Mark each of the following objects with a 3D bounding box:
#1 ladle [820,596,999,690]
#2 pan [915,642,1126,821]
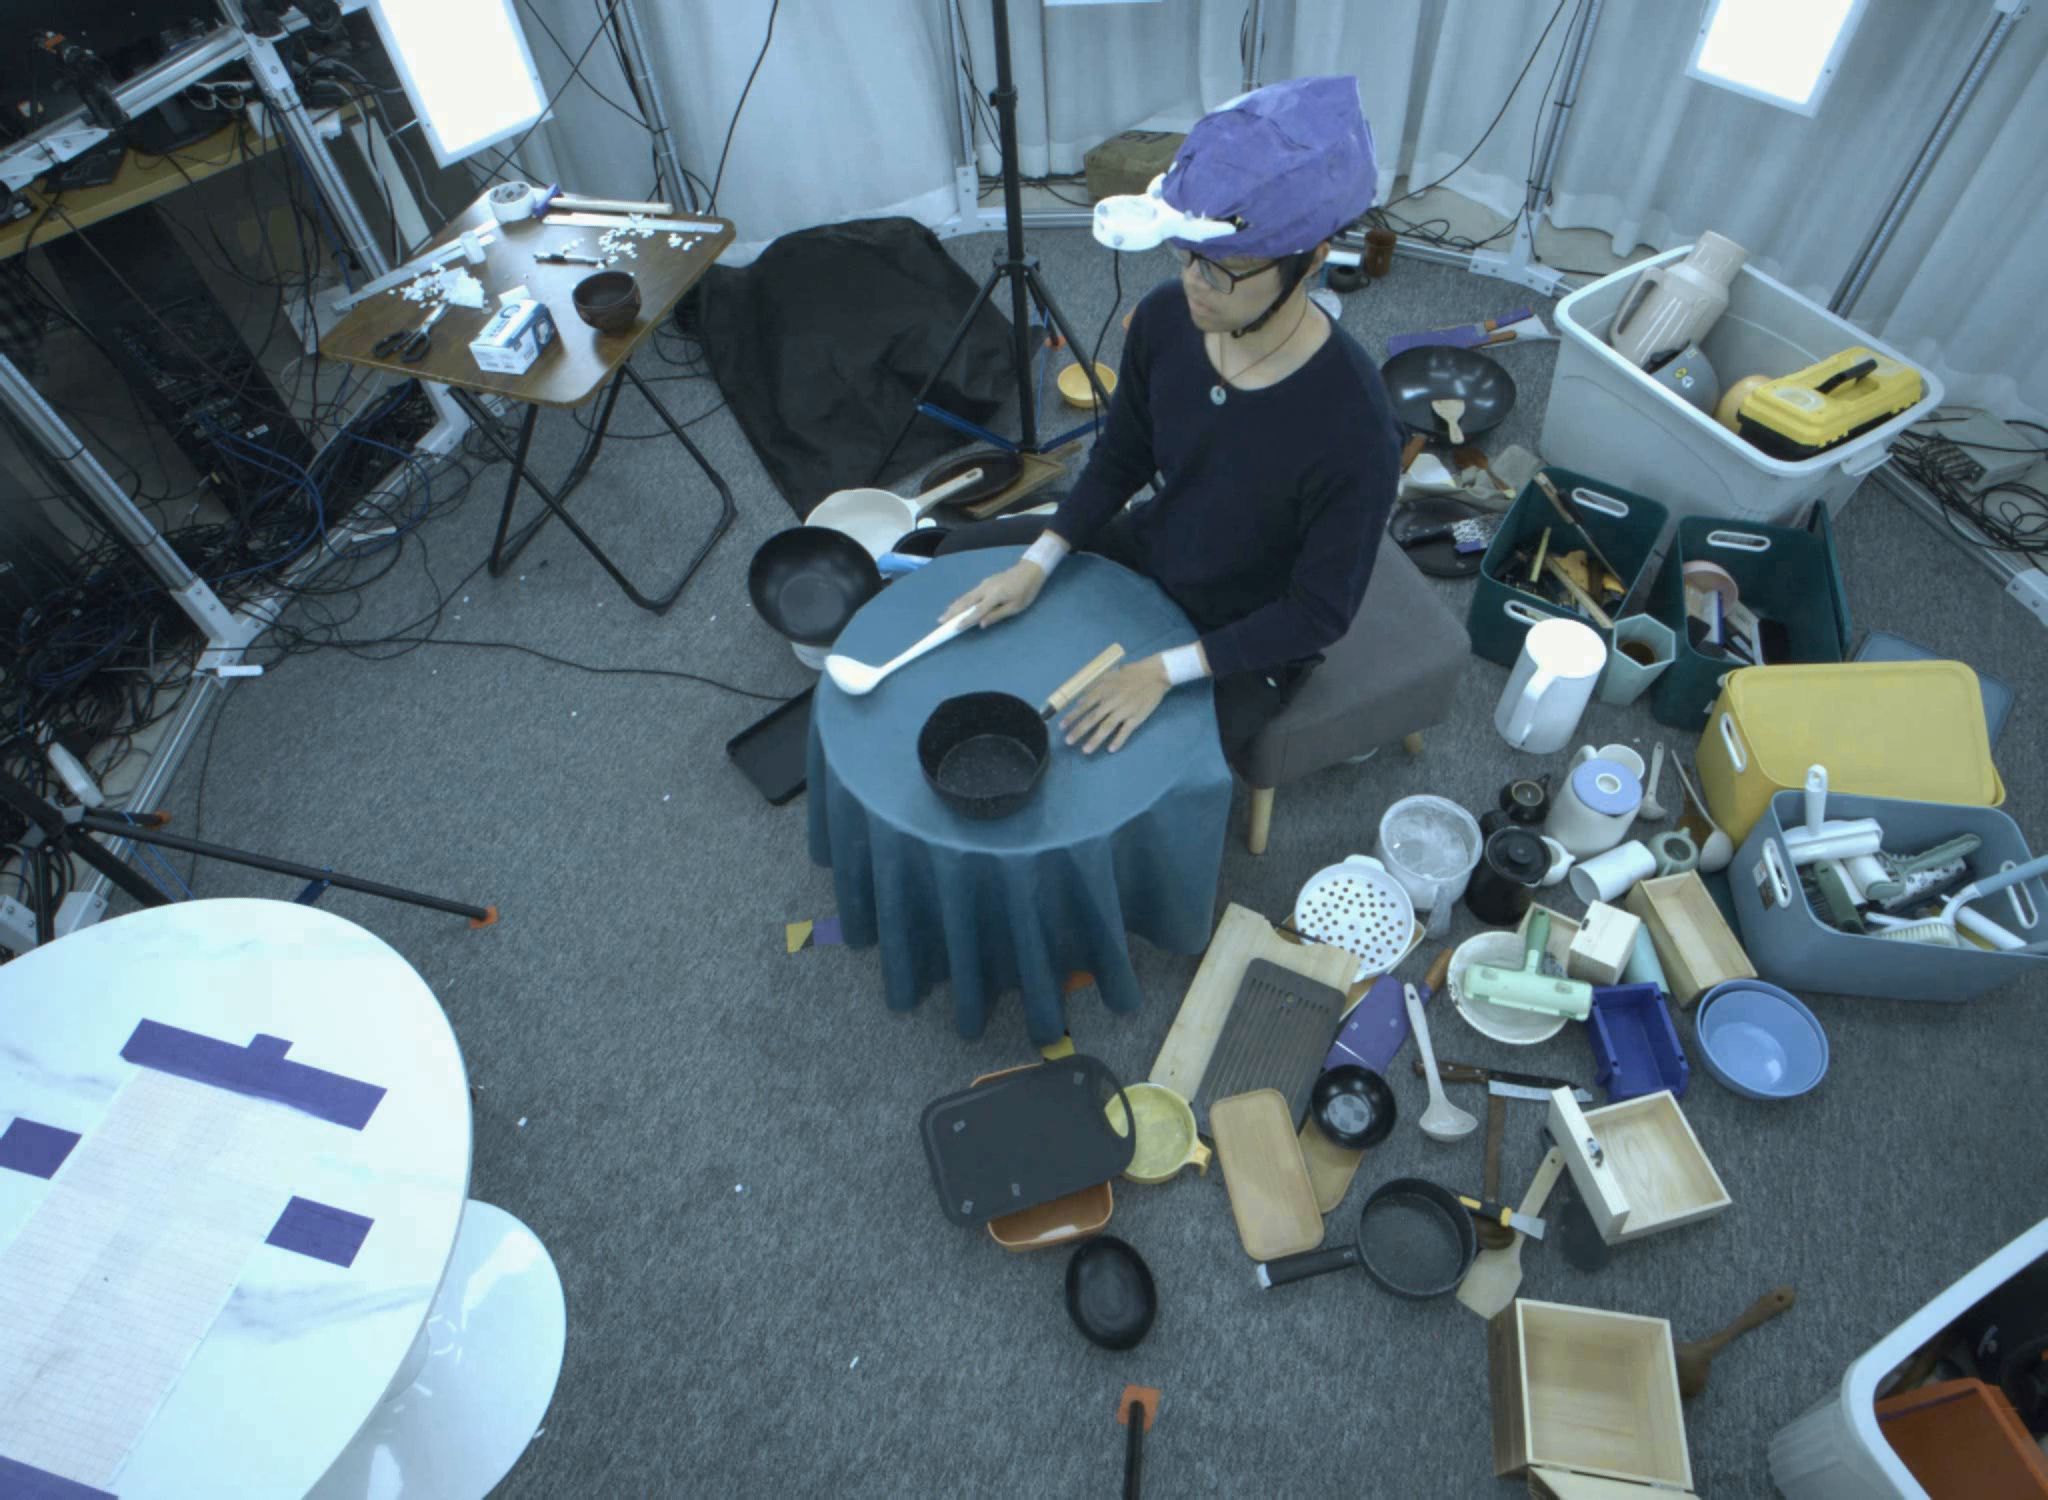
[{"bbox_3d":[-0.172,-0.174,1.878,0.295,0.071,0.088,-30,43,-19],"label":"ladle"},{"bbox_3d":[0.007,-0.034,1.744,0.345,0.109,0.203,-35,59,-19],"label":"pan"}]
